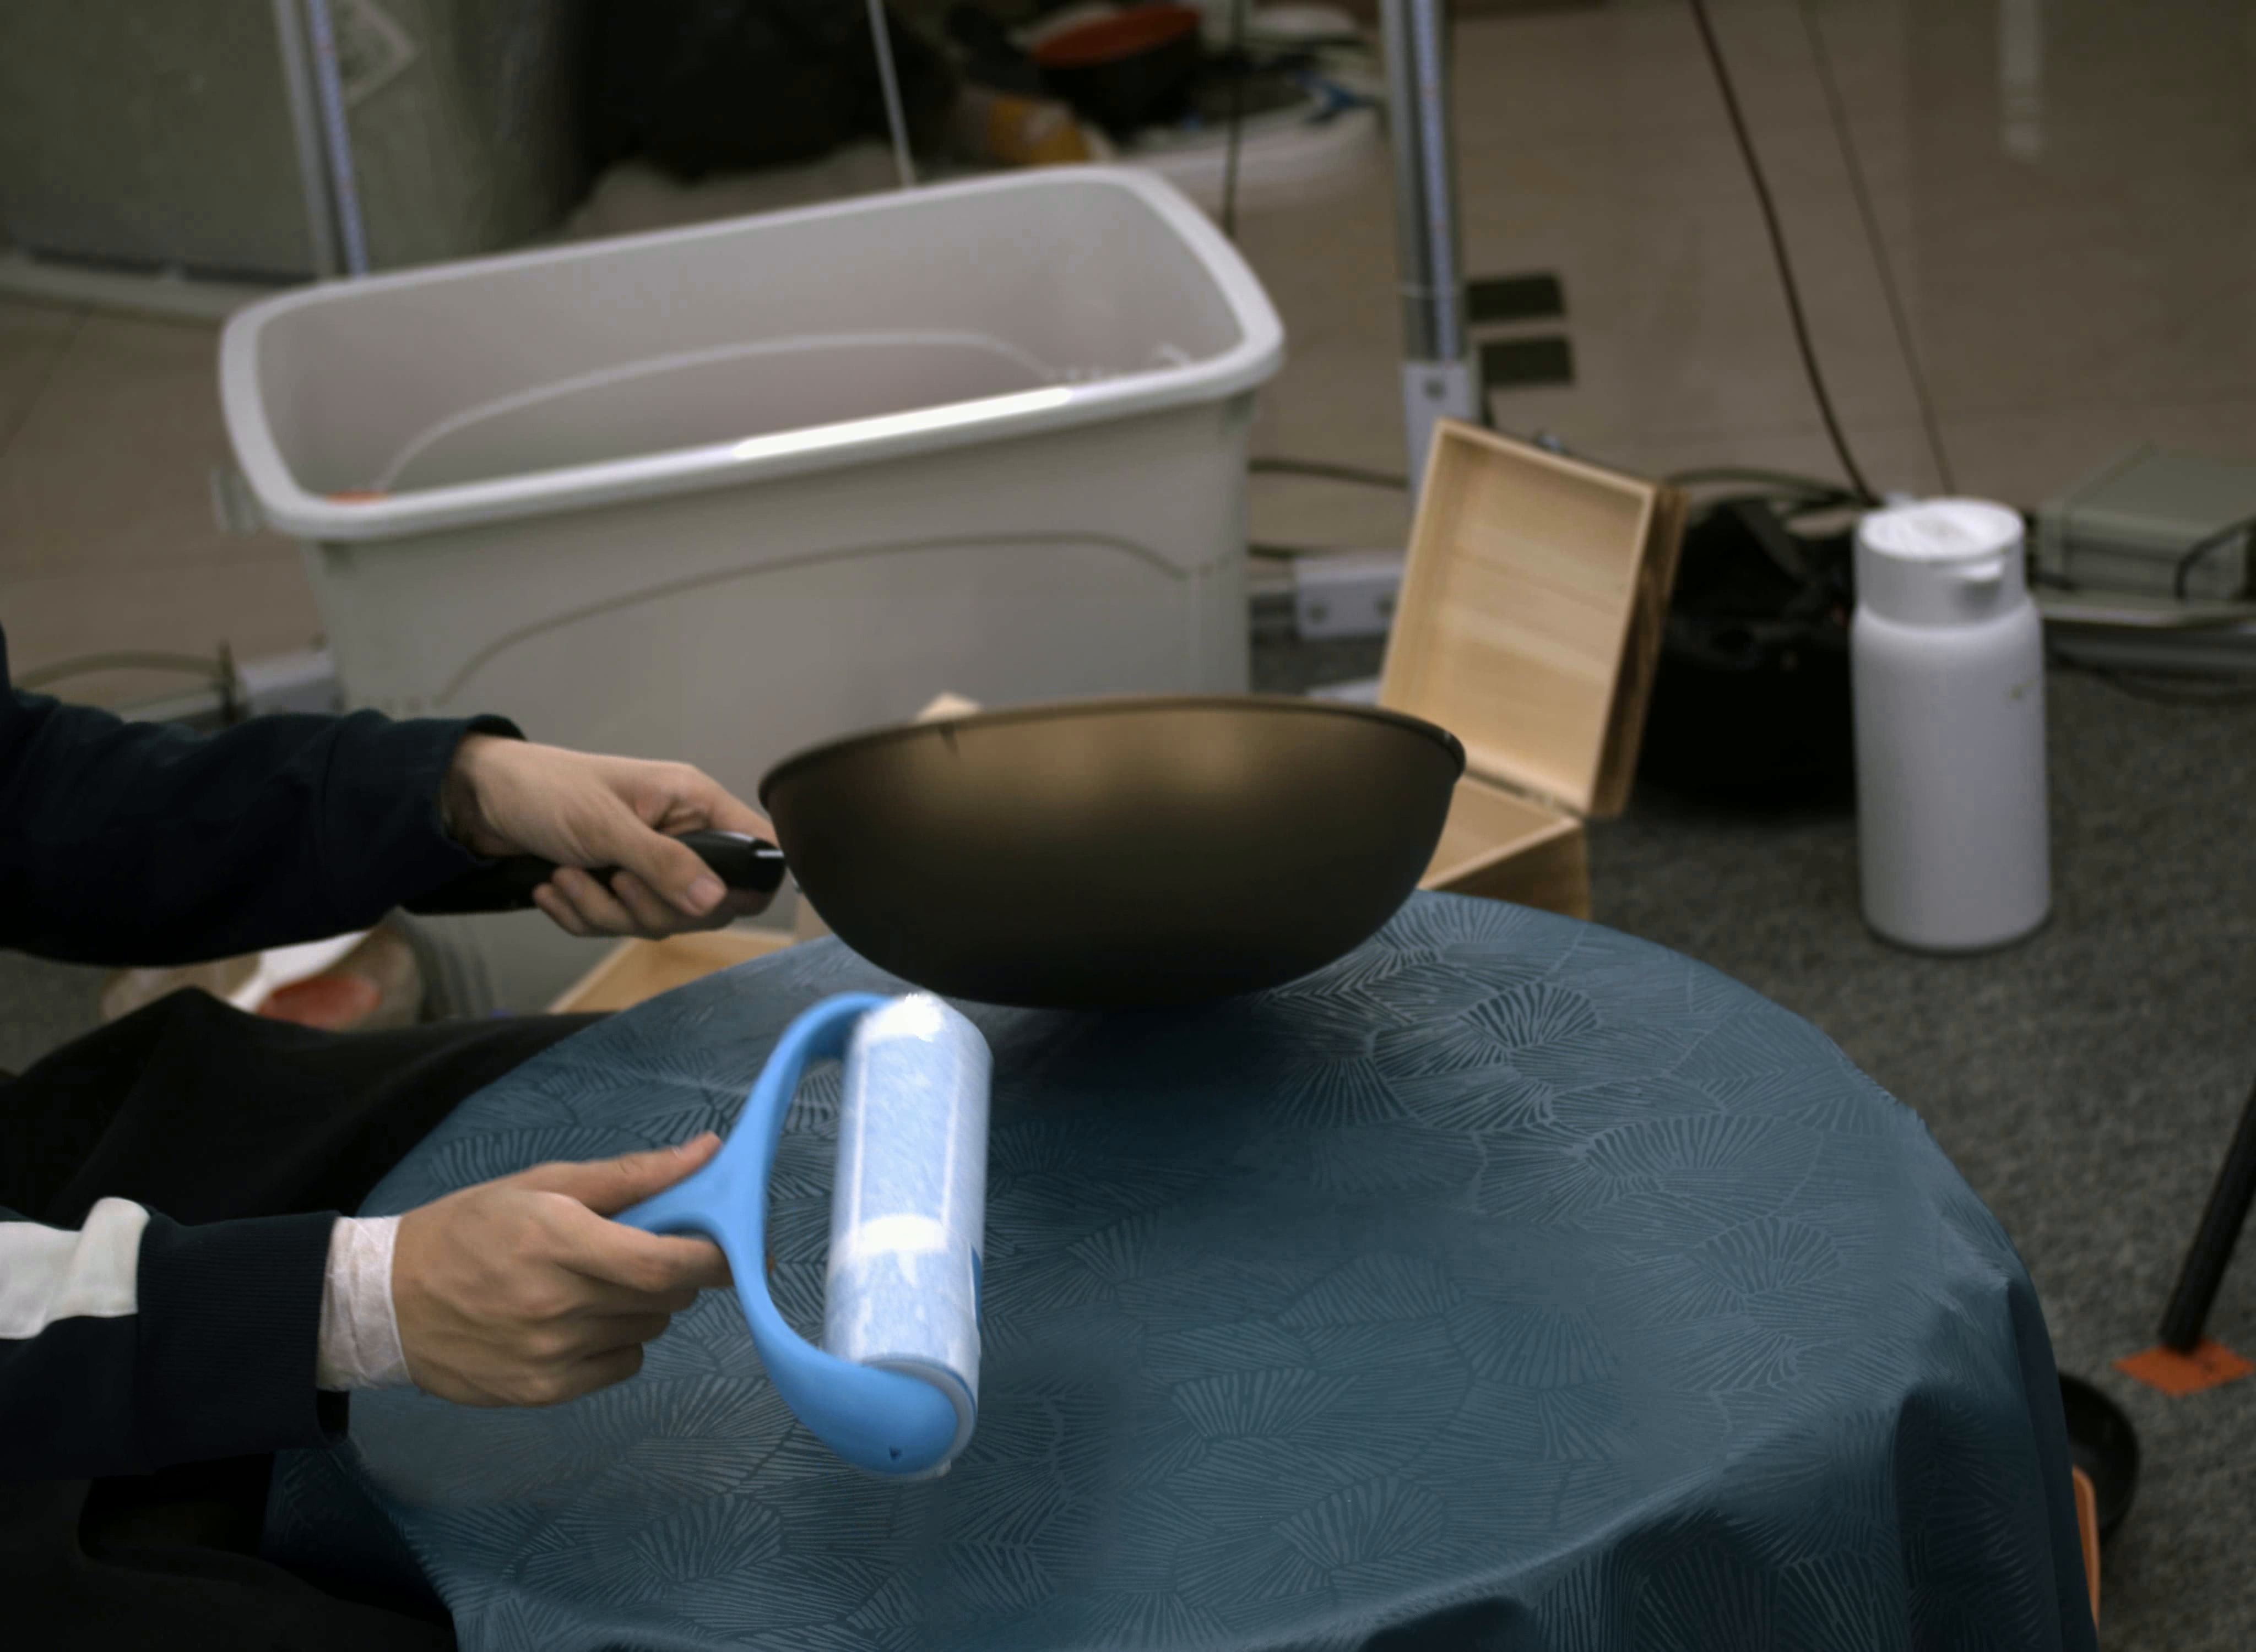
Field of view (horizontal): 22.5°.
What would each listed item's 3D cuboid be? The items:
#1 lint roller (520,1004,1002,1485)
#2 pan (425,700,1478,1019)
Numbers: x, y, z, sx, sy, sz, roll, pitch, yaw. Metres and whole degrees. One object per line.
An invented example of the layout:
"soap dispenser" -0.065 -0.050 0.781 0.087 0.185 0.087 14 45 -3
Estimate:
"lint roller" -0.129 0.153 1.956 0.180 0.069 0.225 -11 37 4
"pan" -0.083 0.034 2.241 0.463 0.086 0.289 -9 -13 25
